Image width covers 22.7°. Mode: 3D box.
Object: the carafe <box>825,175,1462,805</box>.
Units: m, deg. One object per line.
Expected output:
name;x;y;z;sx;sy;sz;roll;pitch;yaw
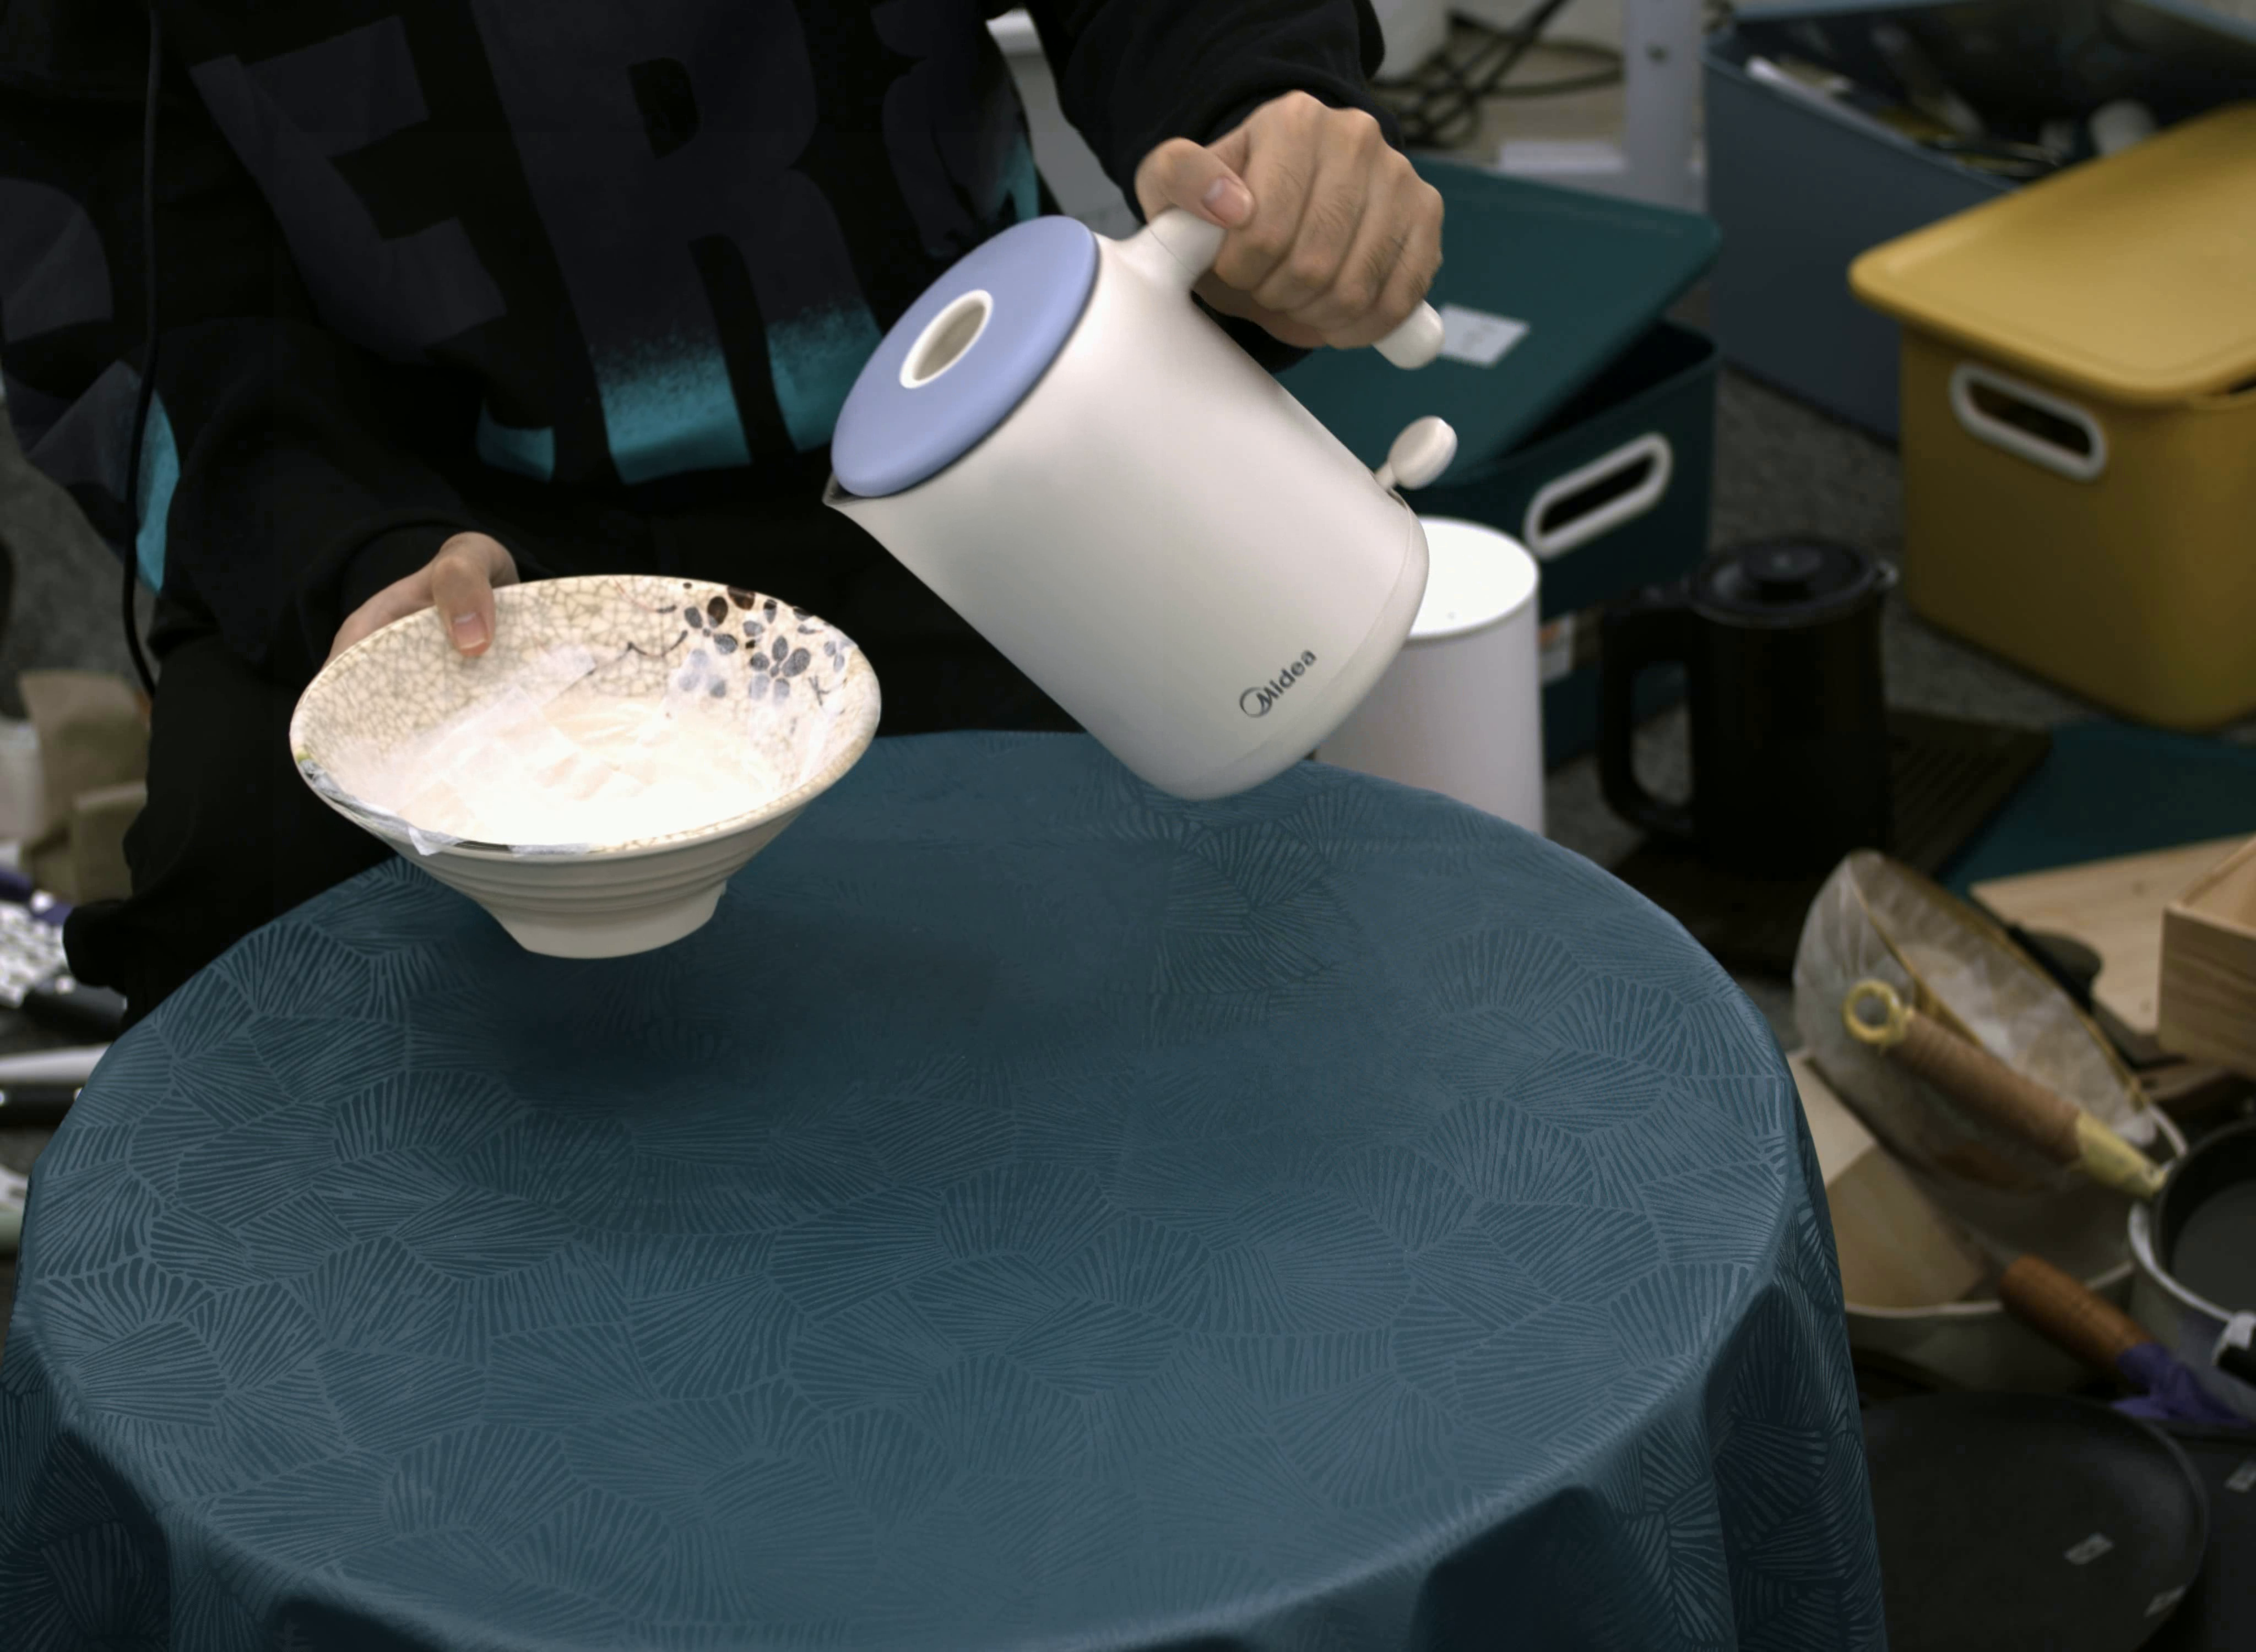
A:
carafe;0.019;-0.123;1.896;0.190;0.181;0.133;-42;27;5

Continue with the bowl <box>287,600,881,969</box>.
bowl;-0.186;-0.004;1.943;0.203;0.077;0.207;0;25;1
